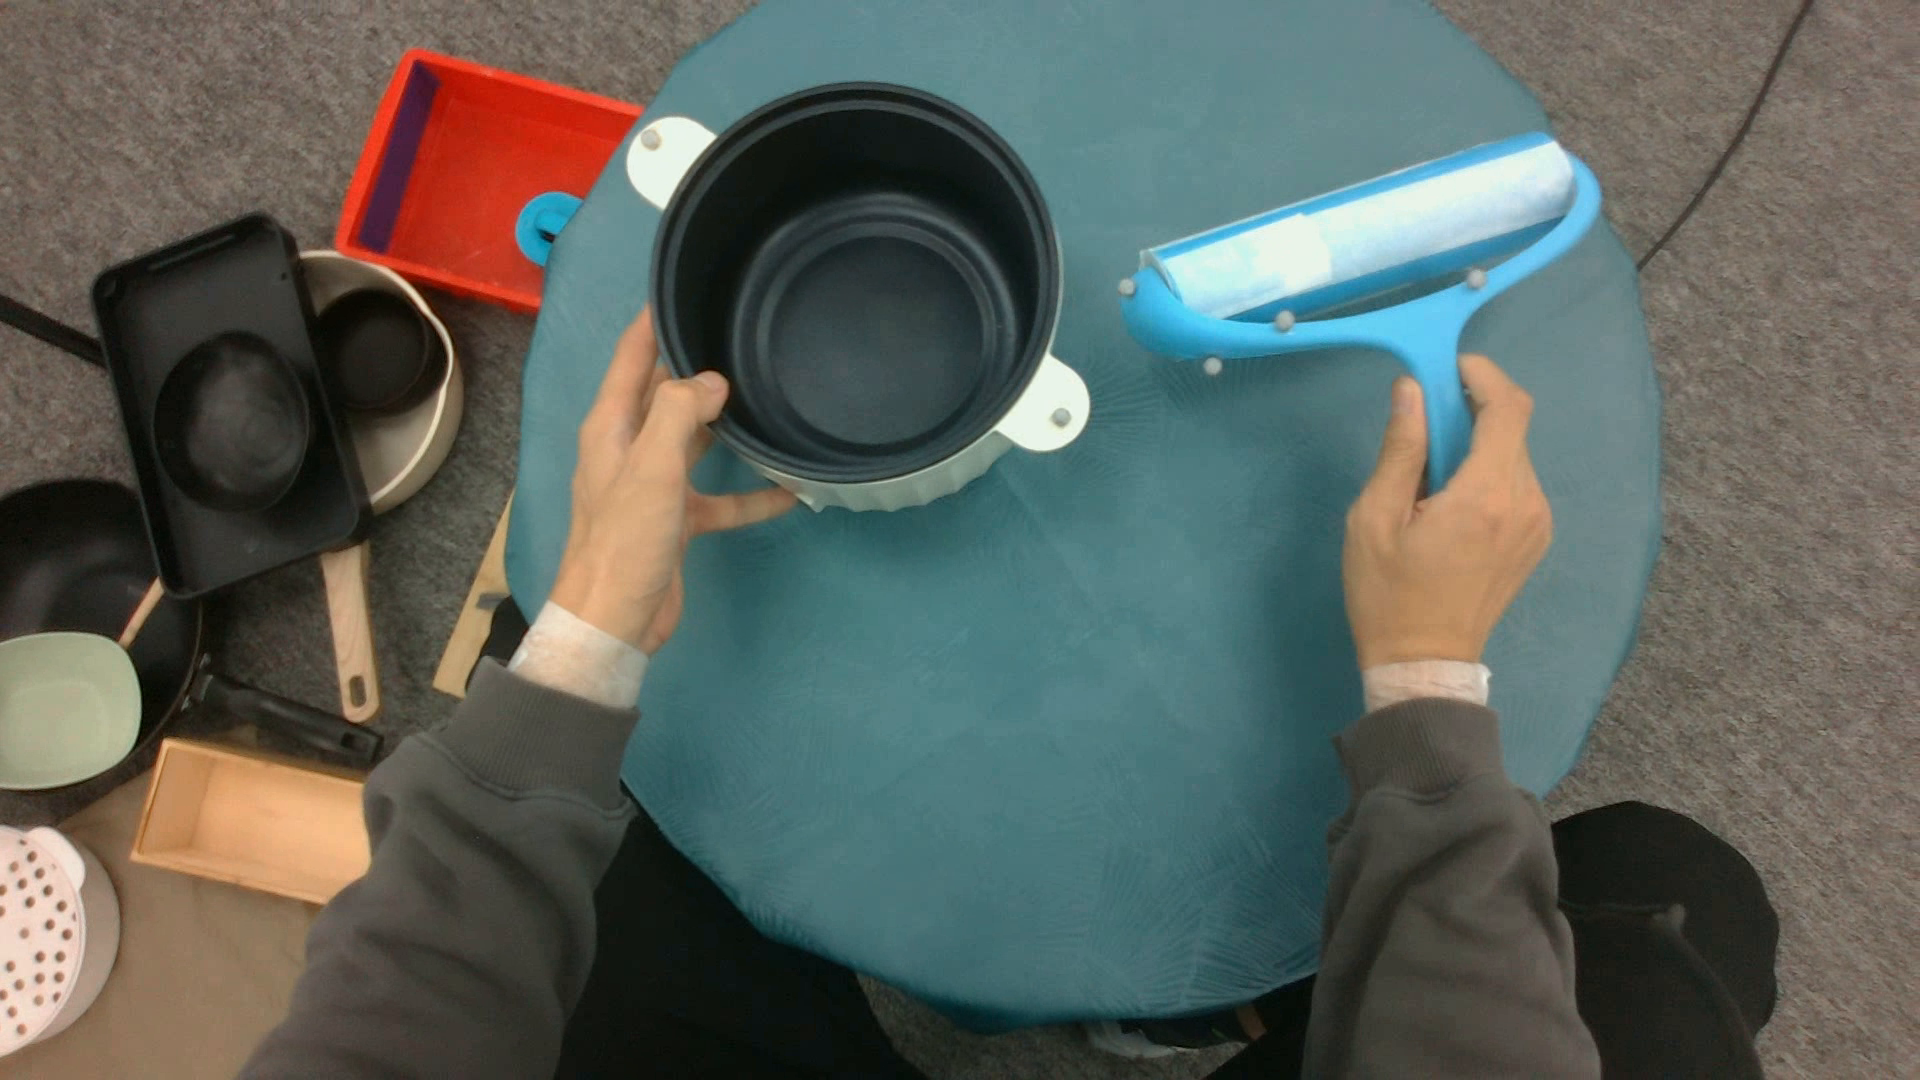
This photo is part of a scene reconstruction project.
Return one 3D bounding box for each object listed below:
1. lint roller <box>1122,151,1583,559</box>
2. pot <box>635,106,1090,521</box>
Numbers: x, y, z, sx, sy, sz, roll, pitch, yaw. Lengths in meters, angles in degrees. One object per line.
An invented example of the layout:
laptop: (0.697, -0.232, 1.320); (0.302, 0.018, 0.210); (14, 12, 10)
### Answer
lint roller: (0.209, -0.083, 0.650); (0.229, 0.068, 0.180); (-20, 73, -7)
pot: (-0.040, -0.106, 0.682); (0.240, 0.142, 0.190); (33, 88, 6)
